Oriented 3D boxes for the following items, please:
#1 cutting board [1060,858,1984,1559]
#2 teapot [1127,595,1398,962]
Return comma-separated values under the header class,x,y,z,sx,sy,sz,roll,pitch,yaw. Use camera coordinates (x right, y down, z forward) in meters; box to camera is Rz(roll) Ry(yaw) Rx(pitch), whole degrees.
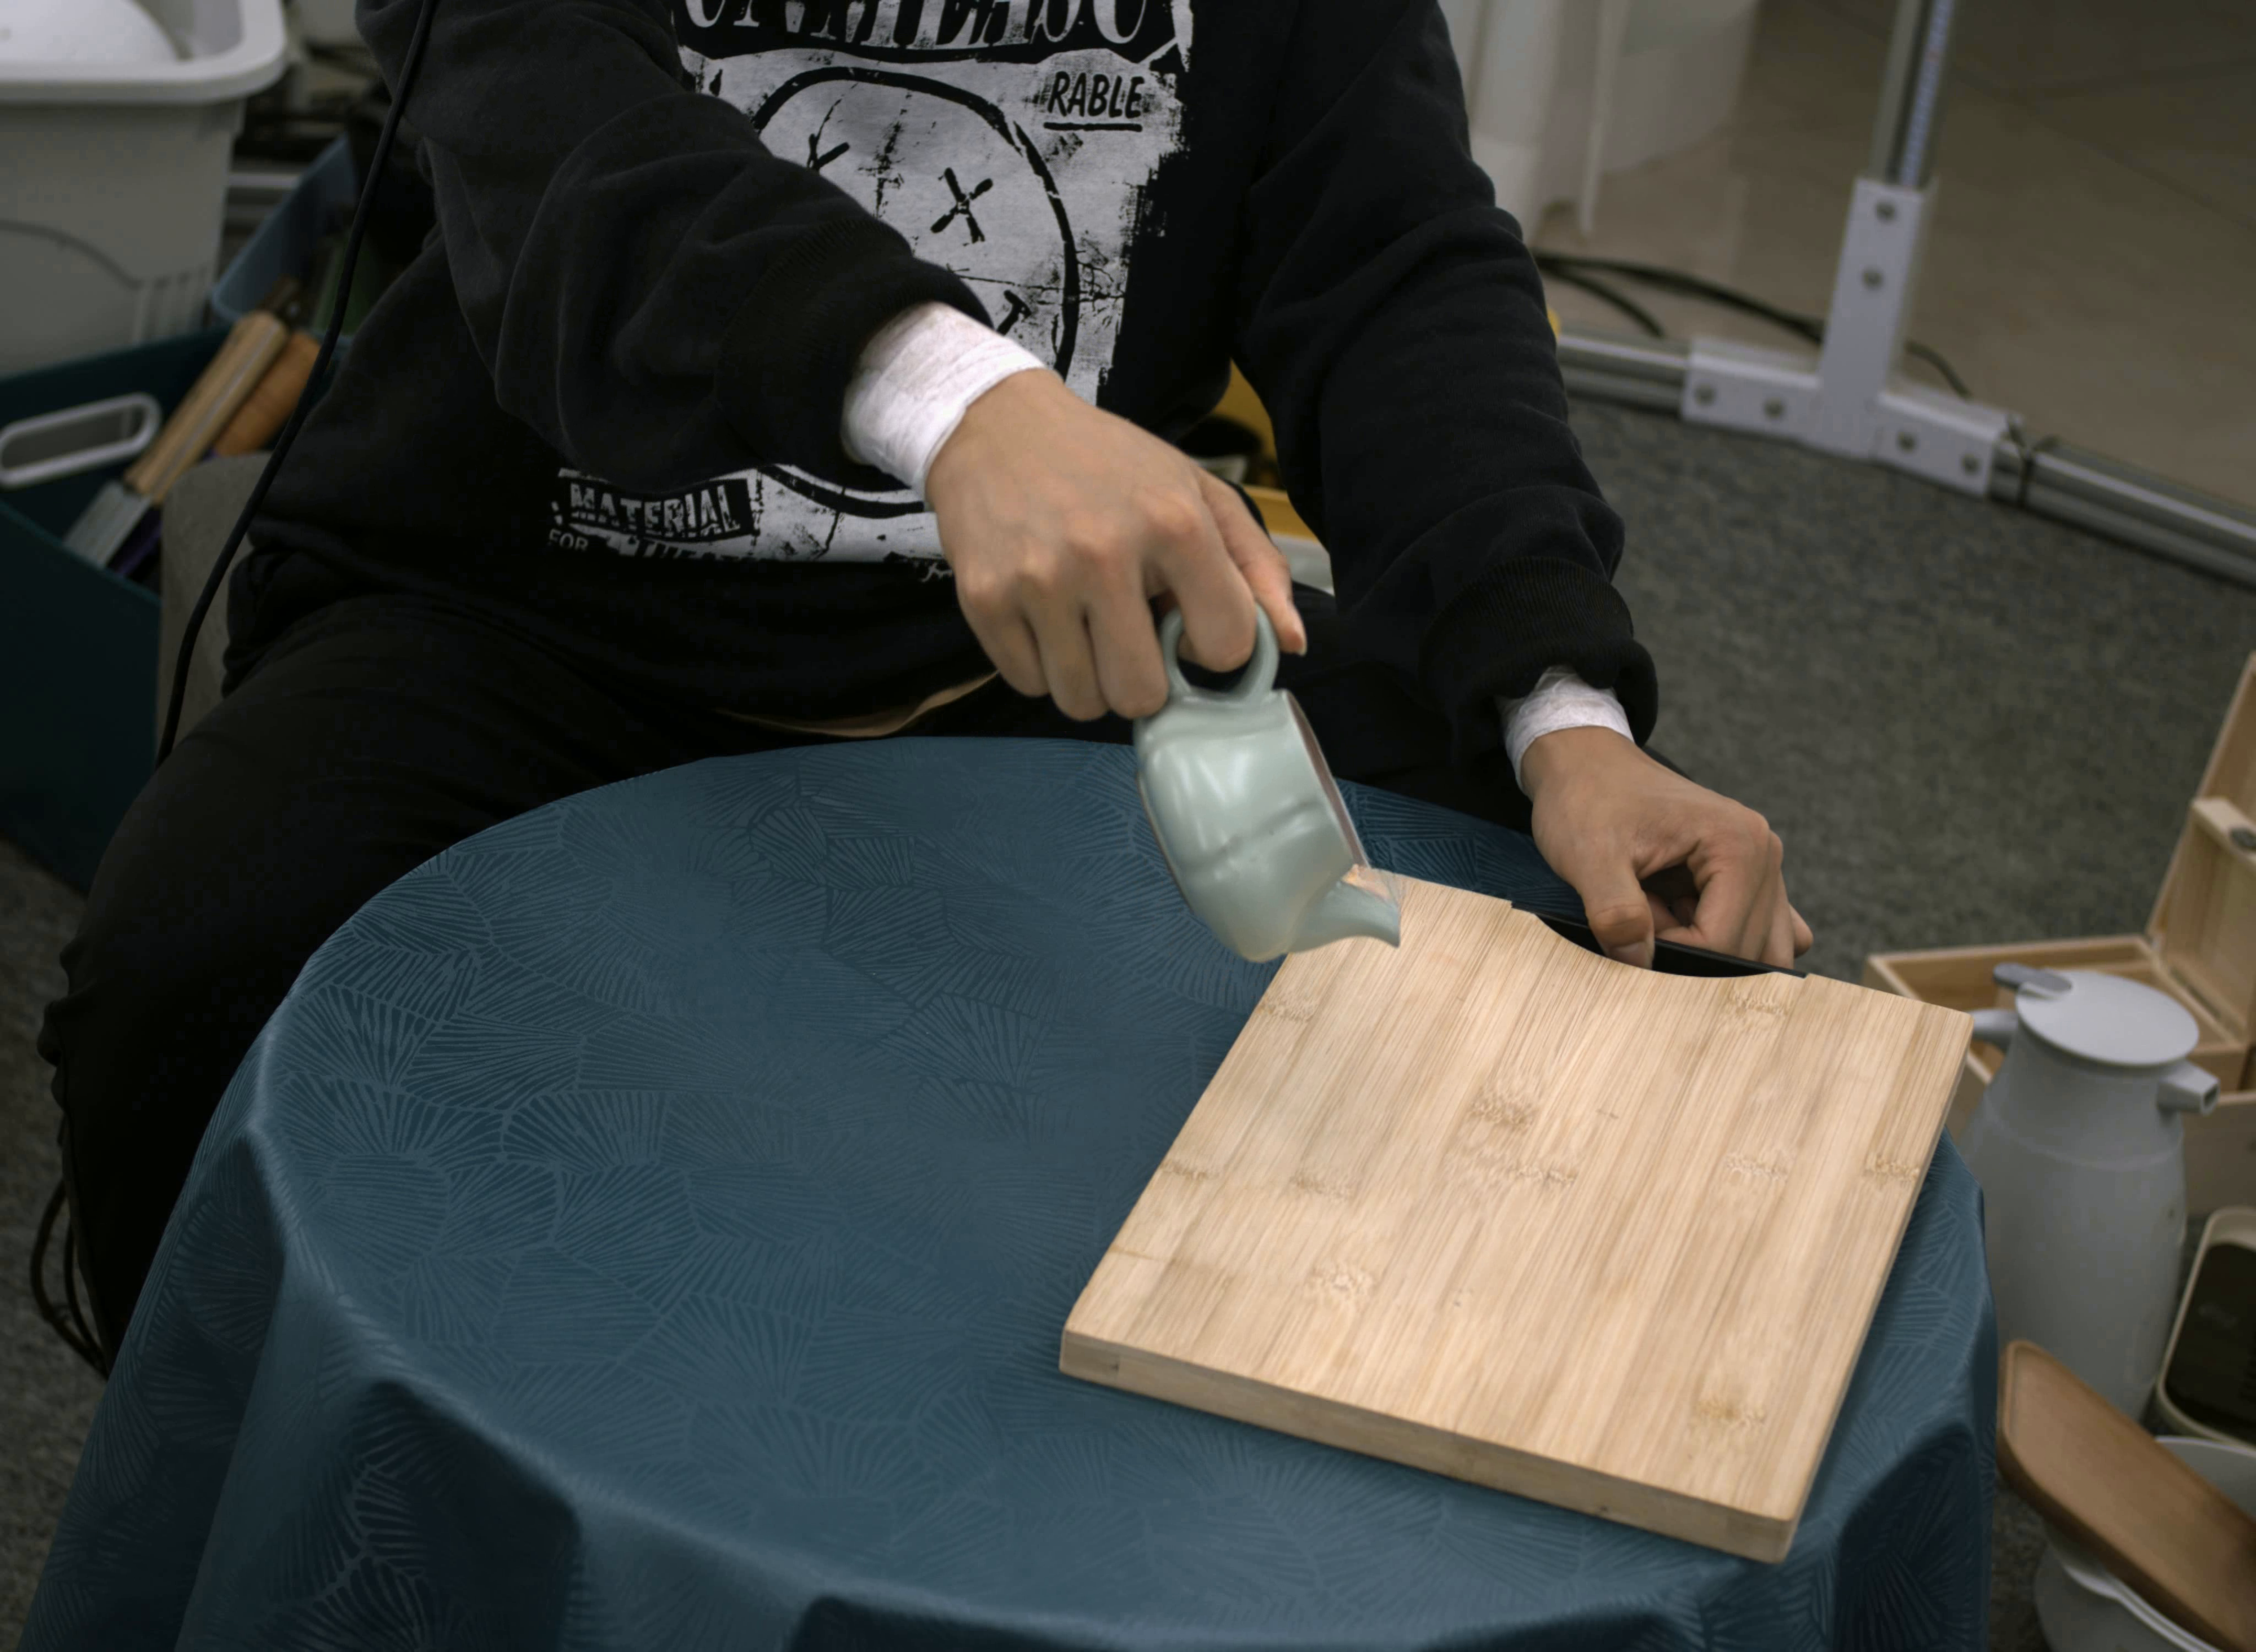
class,x,y,z,sx,sy,sz,roll,pitch,yaw
cutting board,0.143,0.120,1.817,0.251,0.023,0.349,13,29,12
teapot,0.036,-0.010,1.730,0.061,0.136,0.096,-23,19,7
